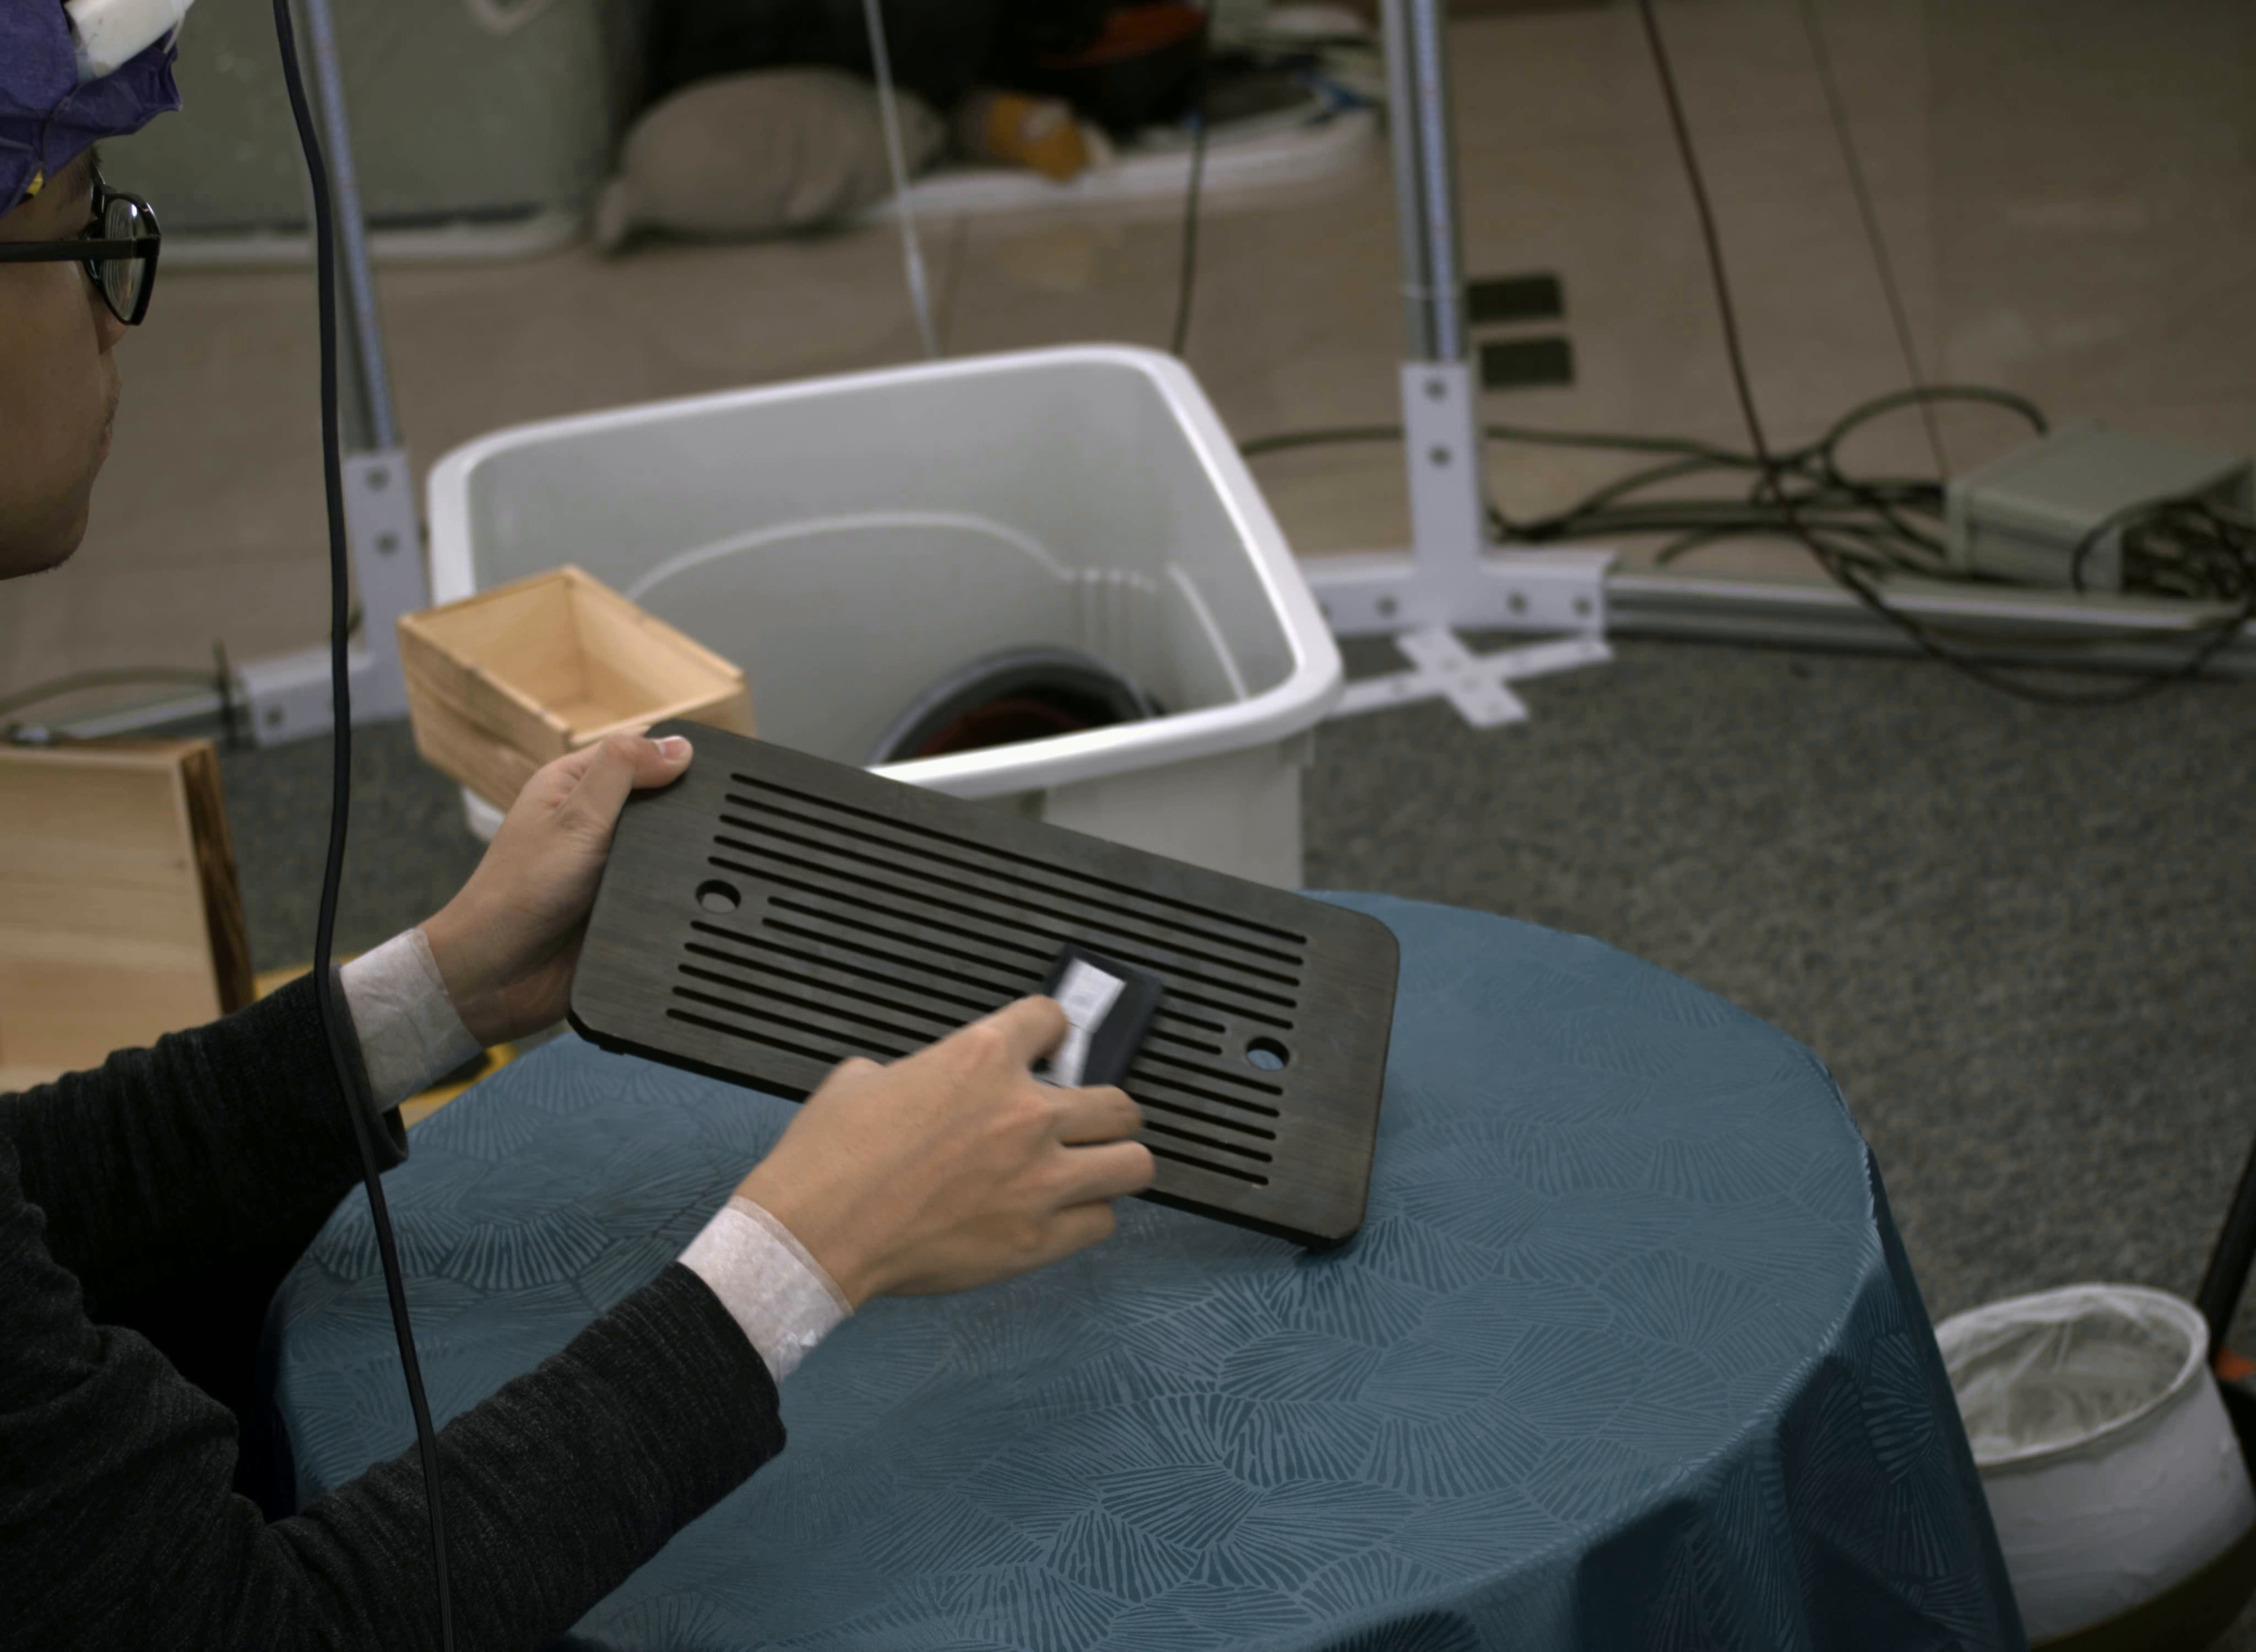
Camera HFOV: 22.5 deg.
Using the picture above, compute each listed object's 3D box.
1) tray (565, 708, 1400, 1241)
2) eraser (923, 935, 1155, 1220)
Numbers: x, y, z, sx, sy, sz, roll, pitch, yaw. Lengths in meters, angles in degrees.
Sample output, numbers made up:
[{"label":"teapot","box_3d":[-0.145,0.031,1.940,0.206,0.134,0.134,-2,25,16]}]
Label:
[{"label":"tray","box_3d":[-0.051,0.057,2.130,0.306,0.019,0.167,16,46,-6]},{"label":"eraser","box_3d":[-0.032,0.088,2.022,0.053,0.031,0.123,20,36,3]}]
